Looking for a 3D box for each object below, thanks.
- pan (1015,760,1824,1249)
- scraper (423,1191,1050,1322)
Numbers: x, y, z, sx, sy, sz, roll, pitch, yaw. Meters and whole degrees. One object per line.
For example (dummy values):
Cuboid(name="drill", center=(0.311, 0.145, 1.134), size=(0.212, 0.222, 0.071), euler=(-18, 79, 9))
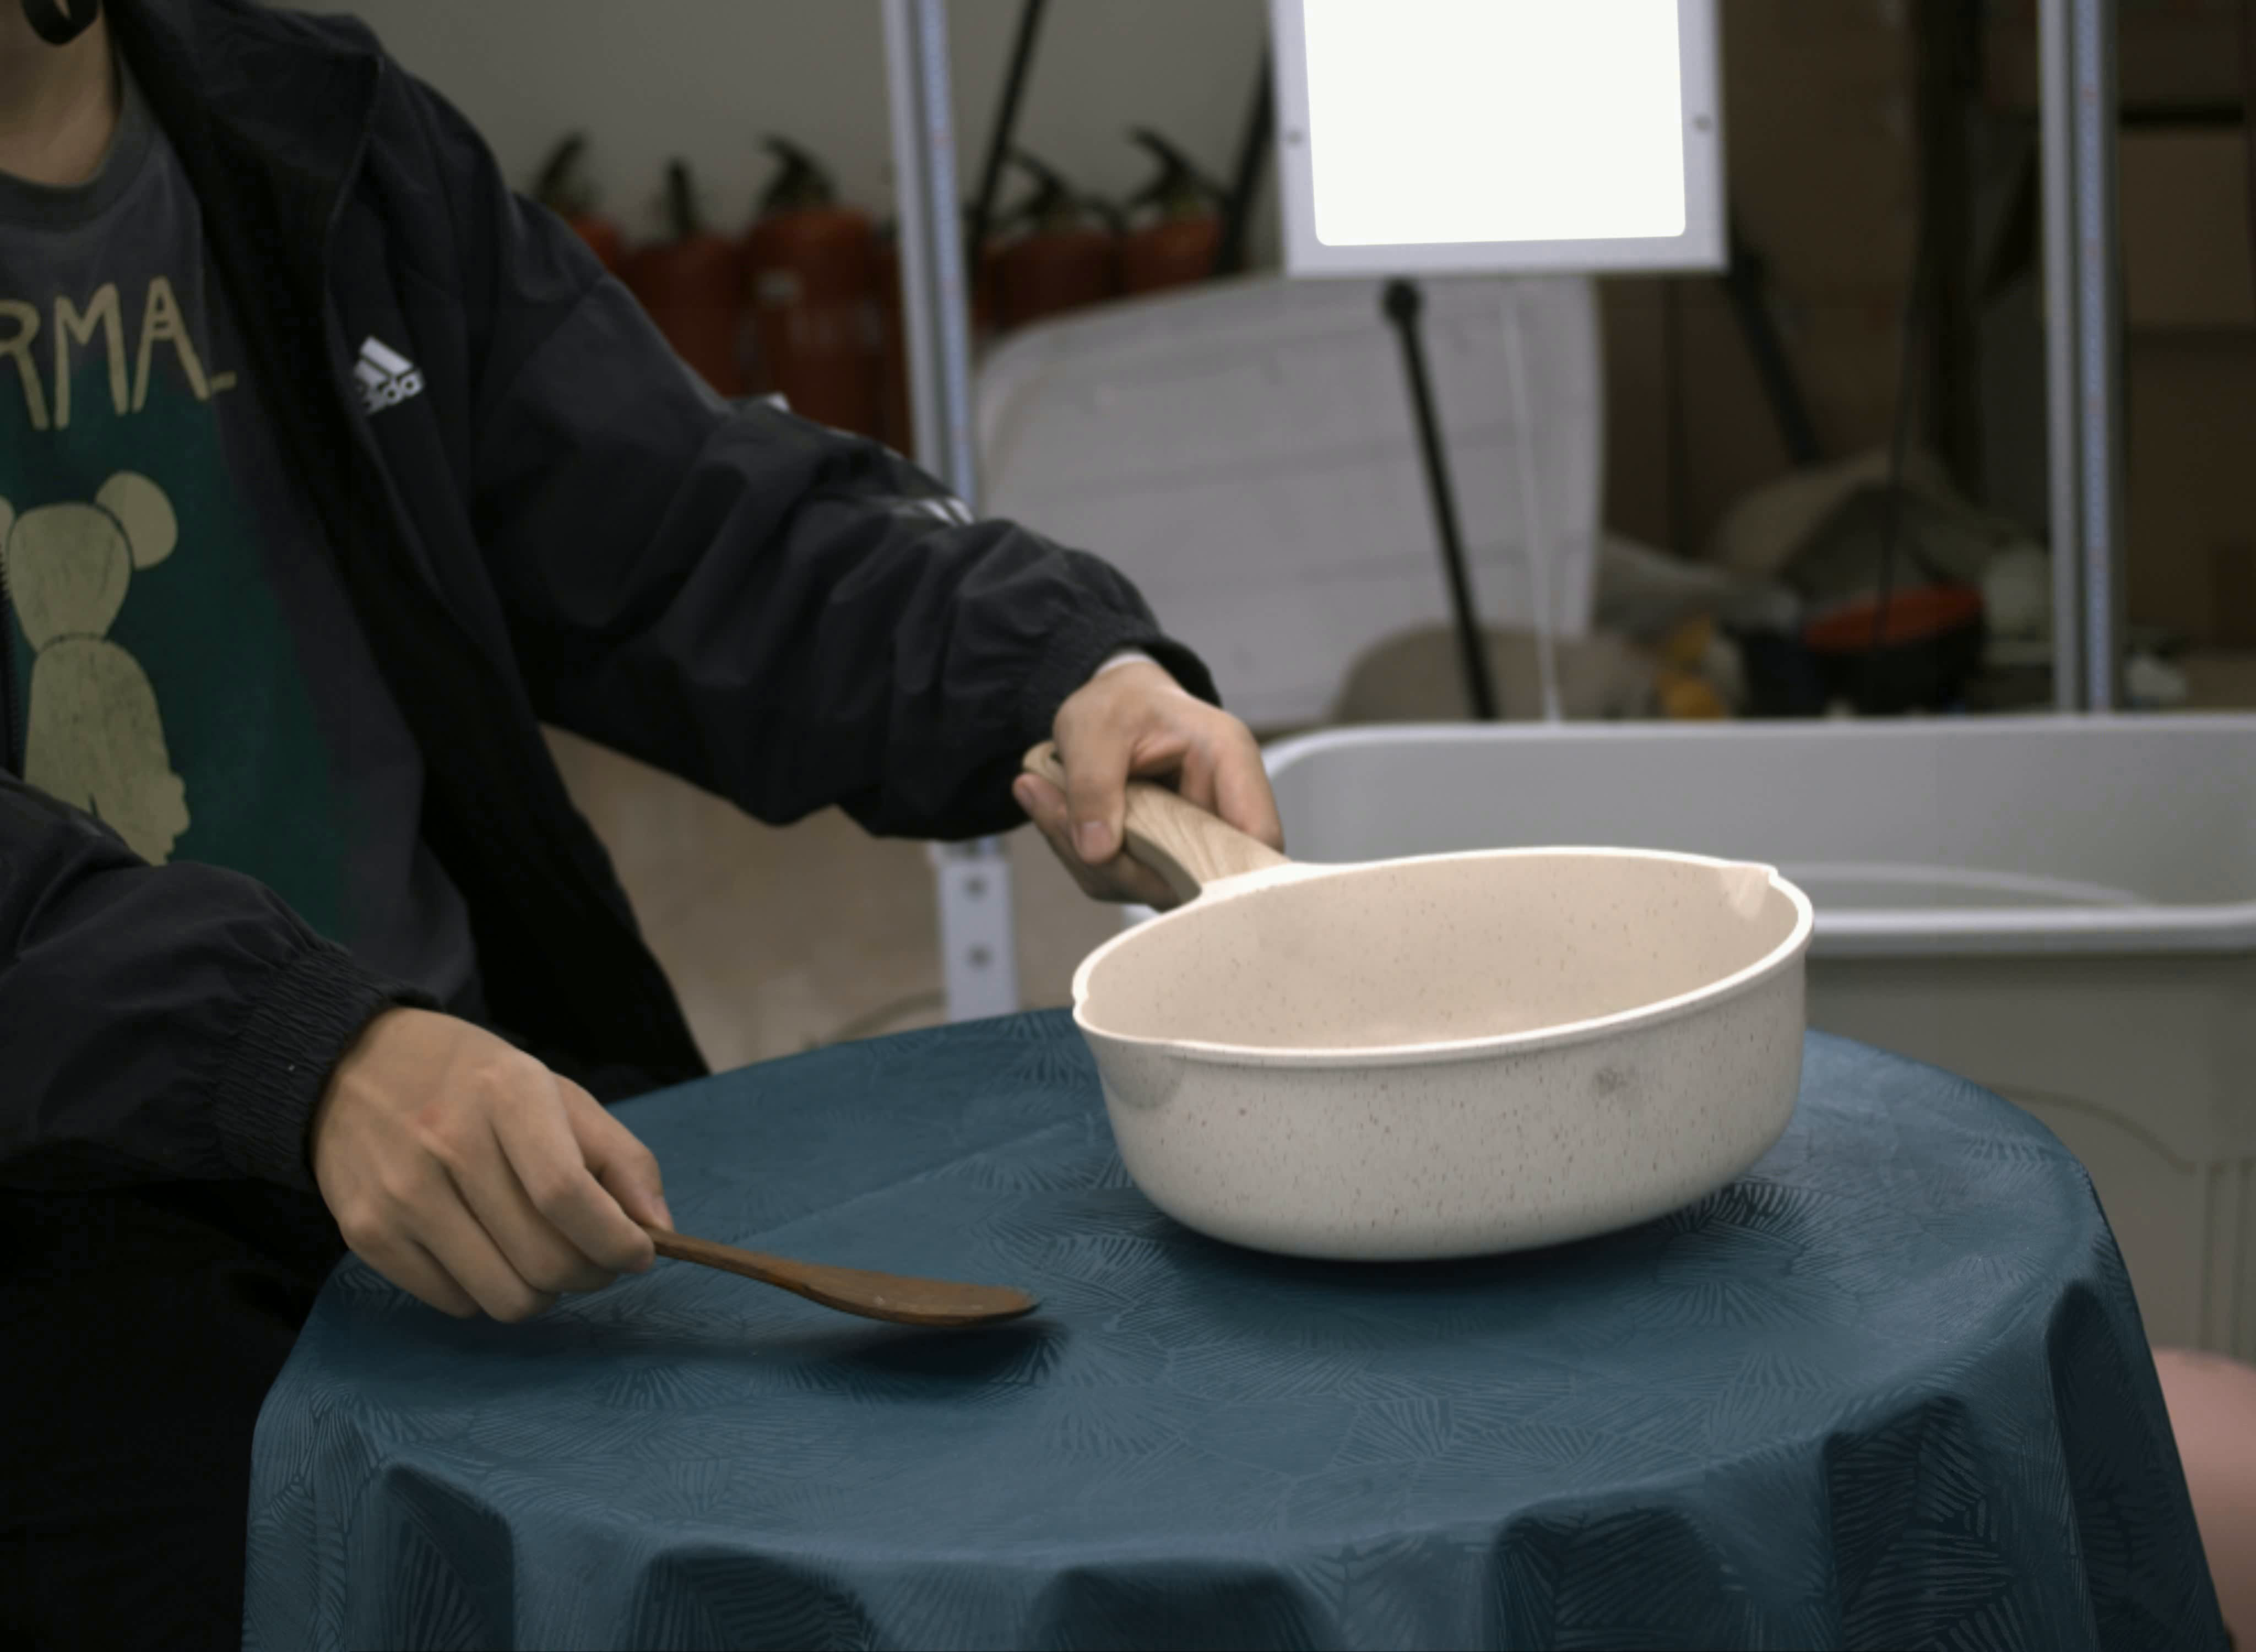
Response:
Cuboid(name="pan", center=(0.072, 0.053, 1.933), size=(0.258, 0.102, 0.442), euler=(-15, 14, -23))
Cuboid(name="scraper", center=(-0.130, 0.138, 1.774), size=(0.214, 0.011, 0.074), euler=(9, 4, 21))
